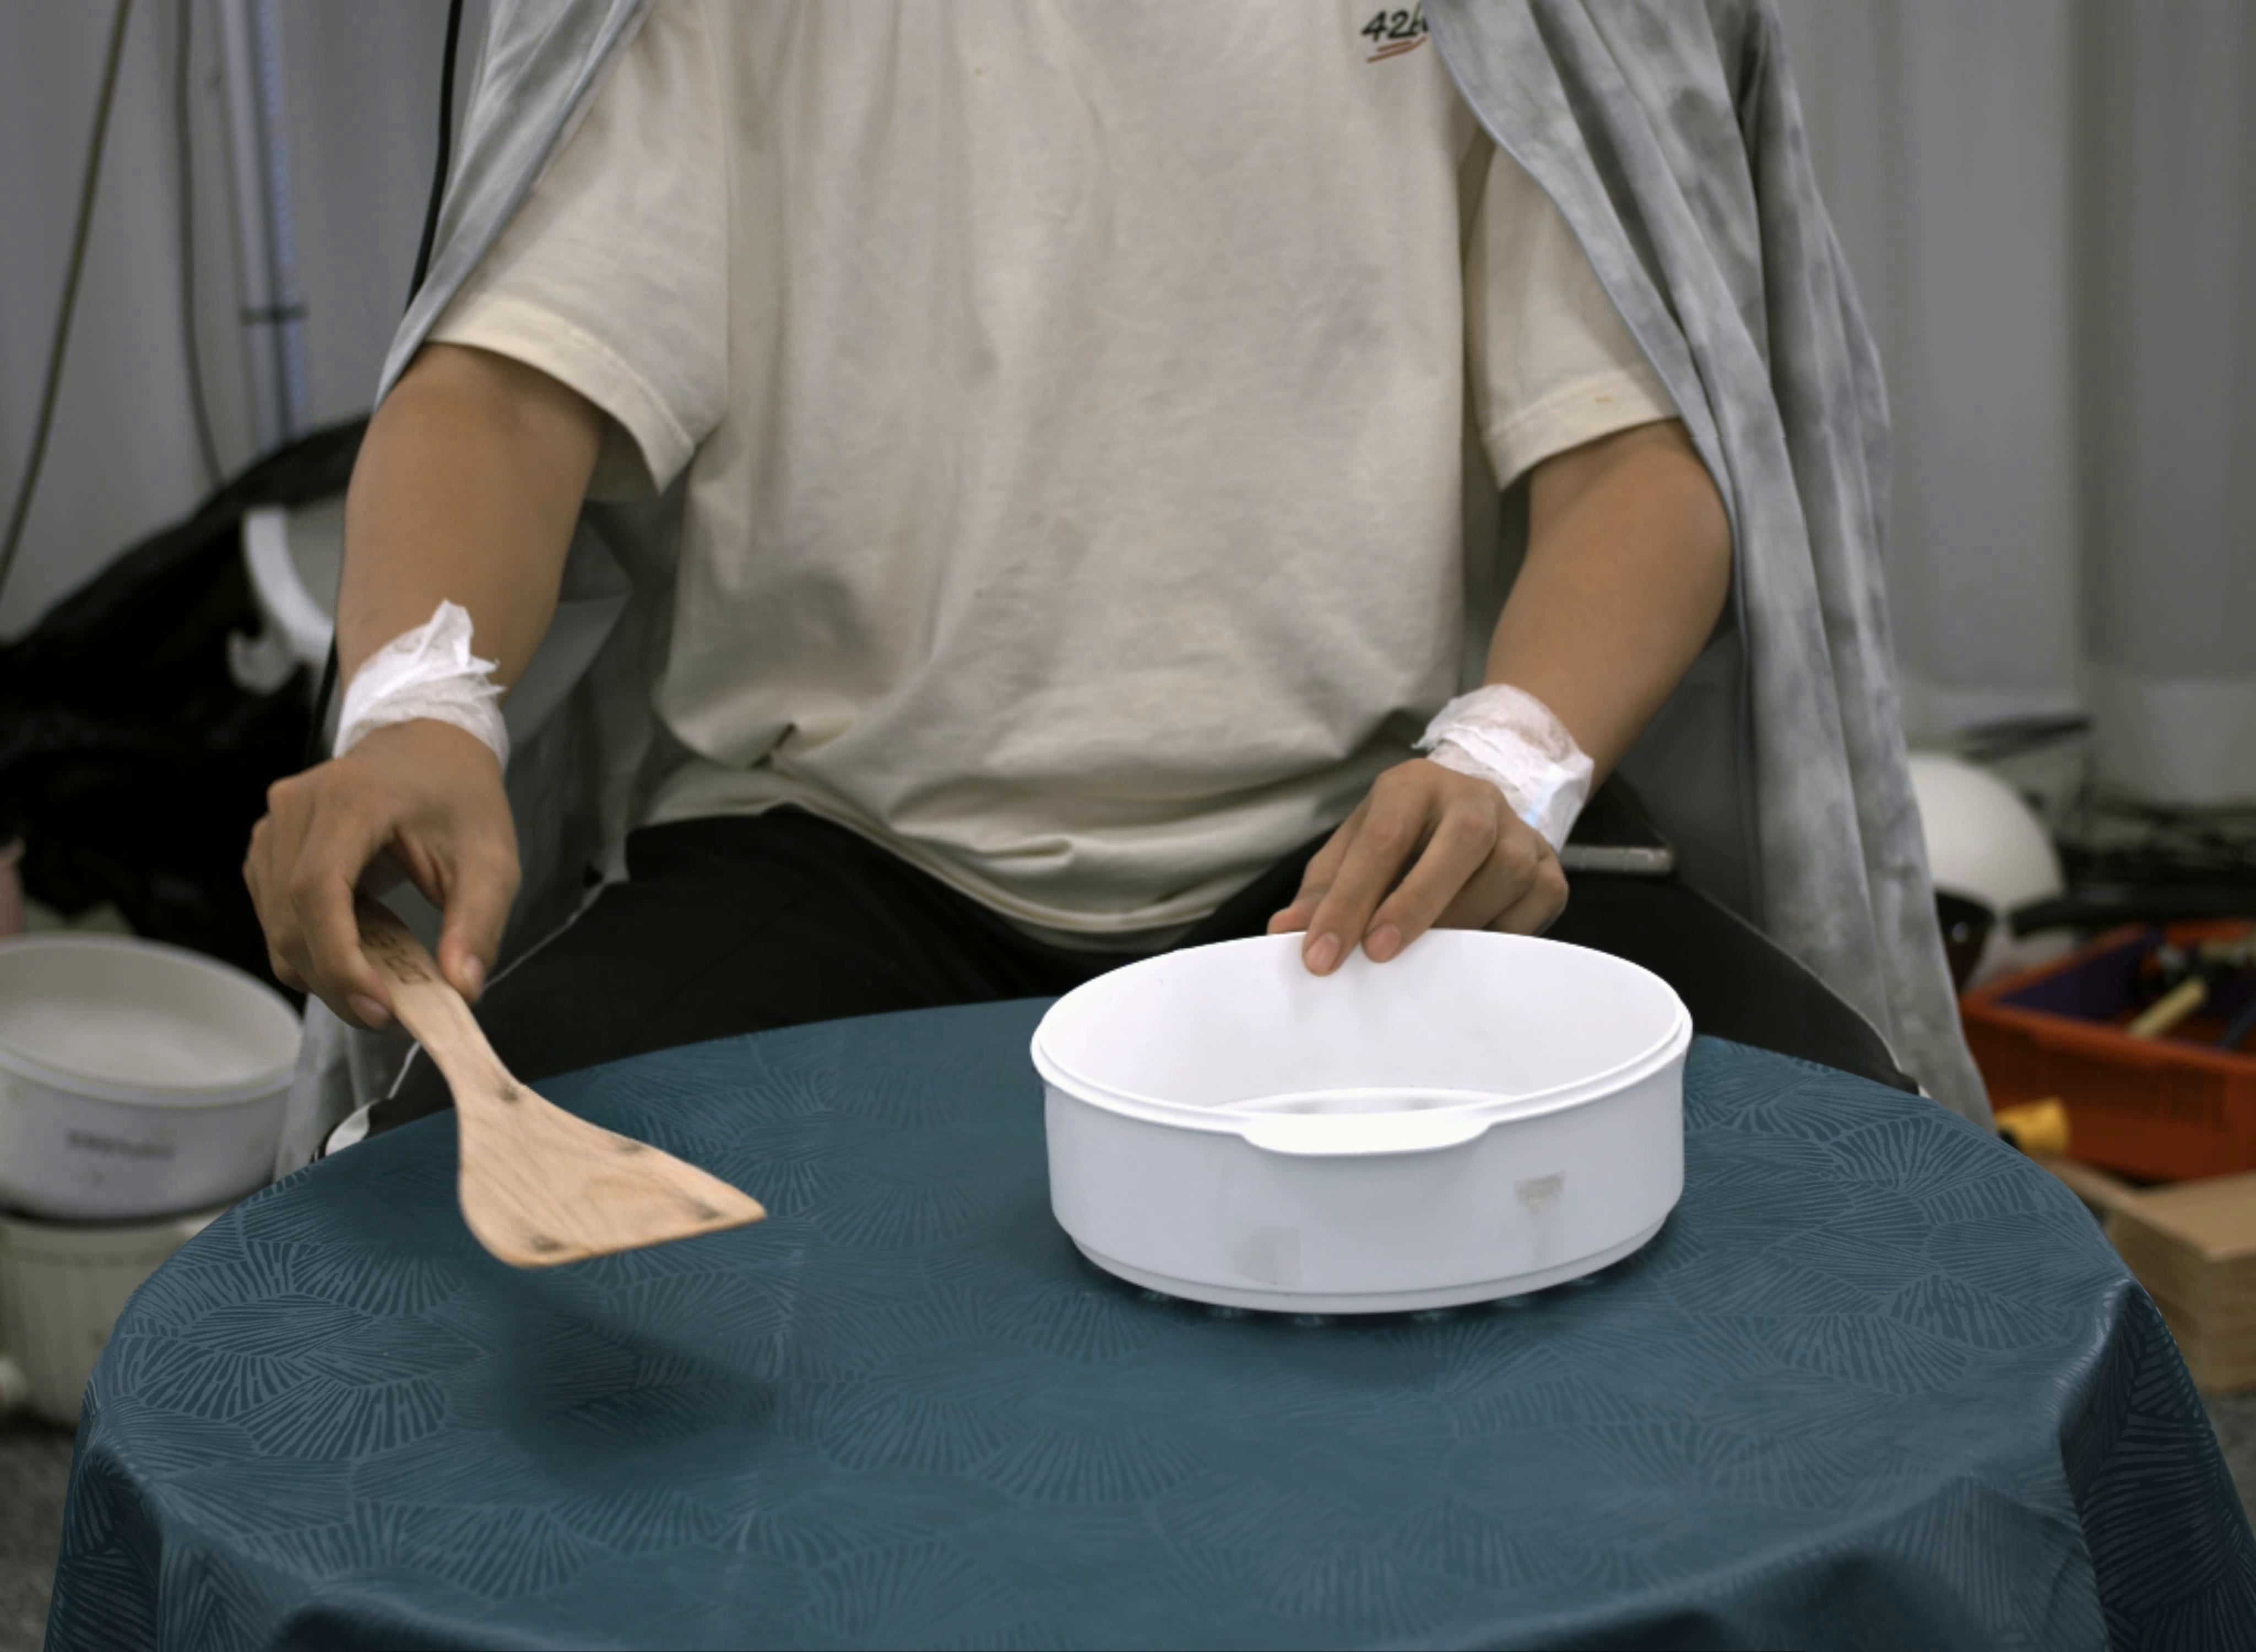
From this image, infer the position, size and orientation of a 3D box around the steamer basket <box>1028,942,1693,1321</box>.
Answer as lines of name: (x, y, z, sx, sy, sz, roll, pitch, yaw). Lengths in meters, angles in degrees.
steamer basket: (0.071, 0.092, 1.664, 0.201, 0.069, 0.232, -1, 14, 2)

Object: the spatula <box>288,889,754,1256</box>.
spatula: (-0.200, 0.070, 1.658, 0.079, 0.016, 0.331, -7, 21, -23)
